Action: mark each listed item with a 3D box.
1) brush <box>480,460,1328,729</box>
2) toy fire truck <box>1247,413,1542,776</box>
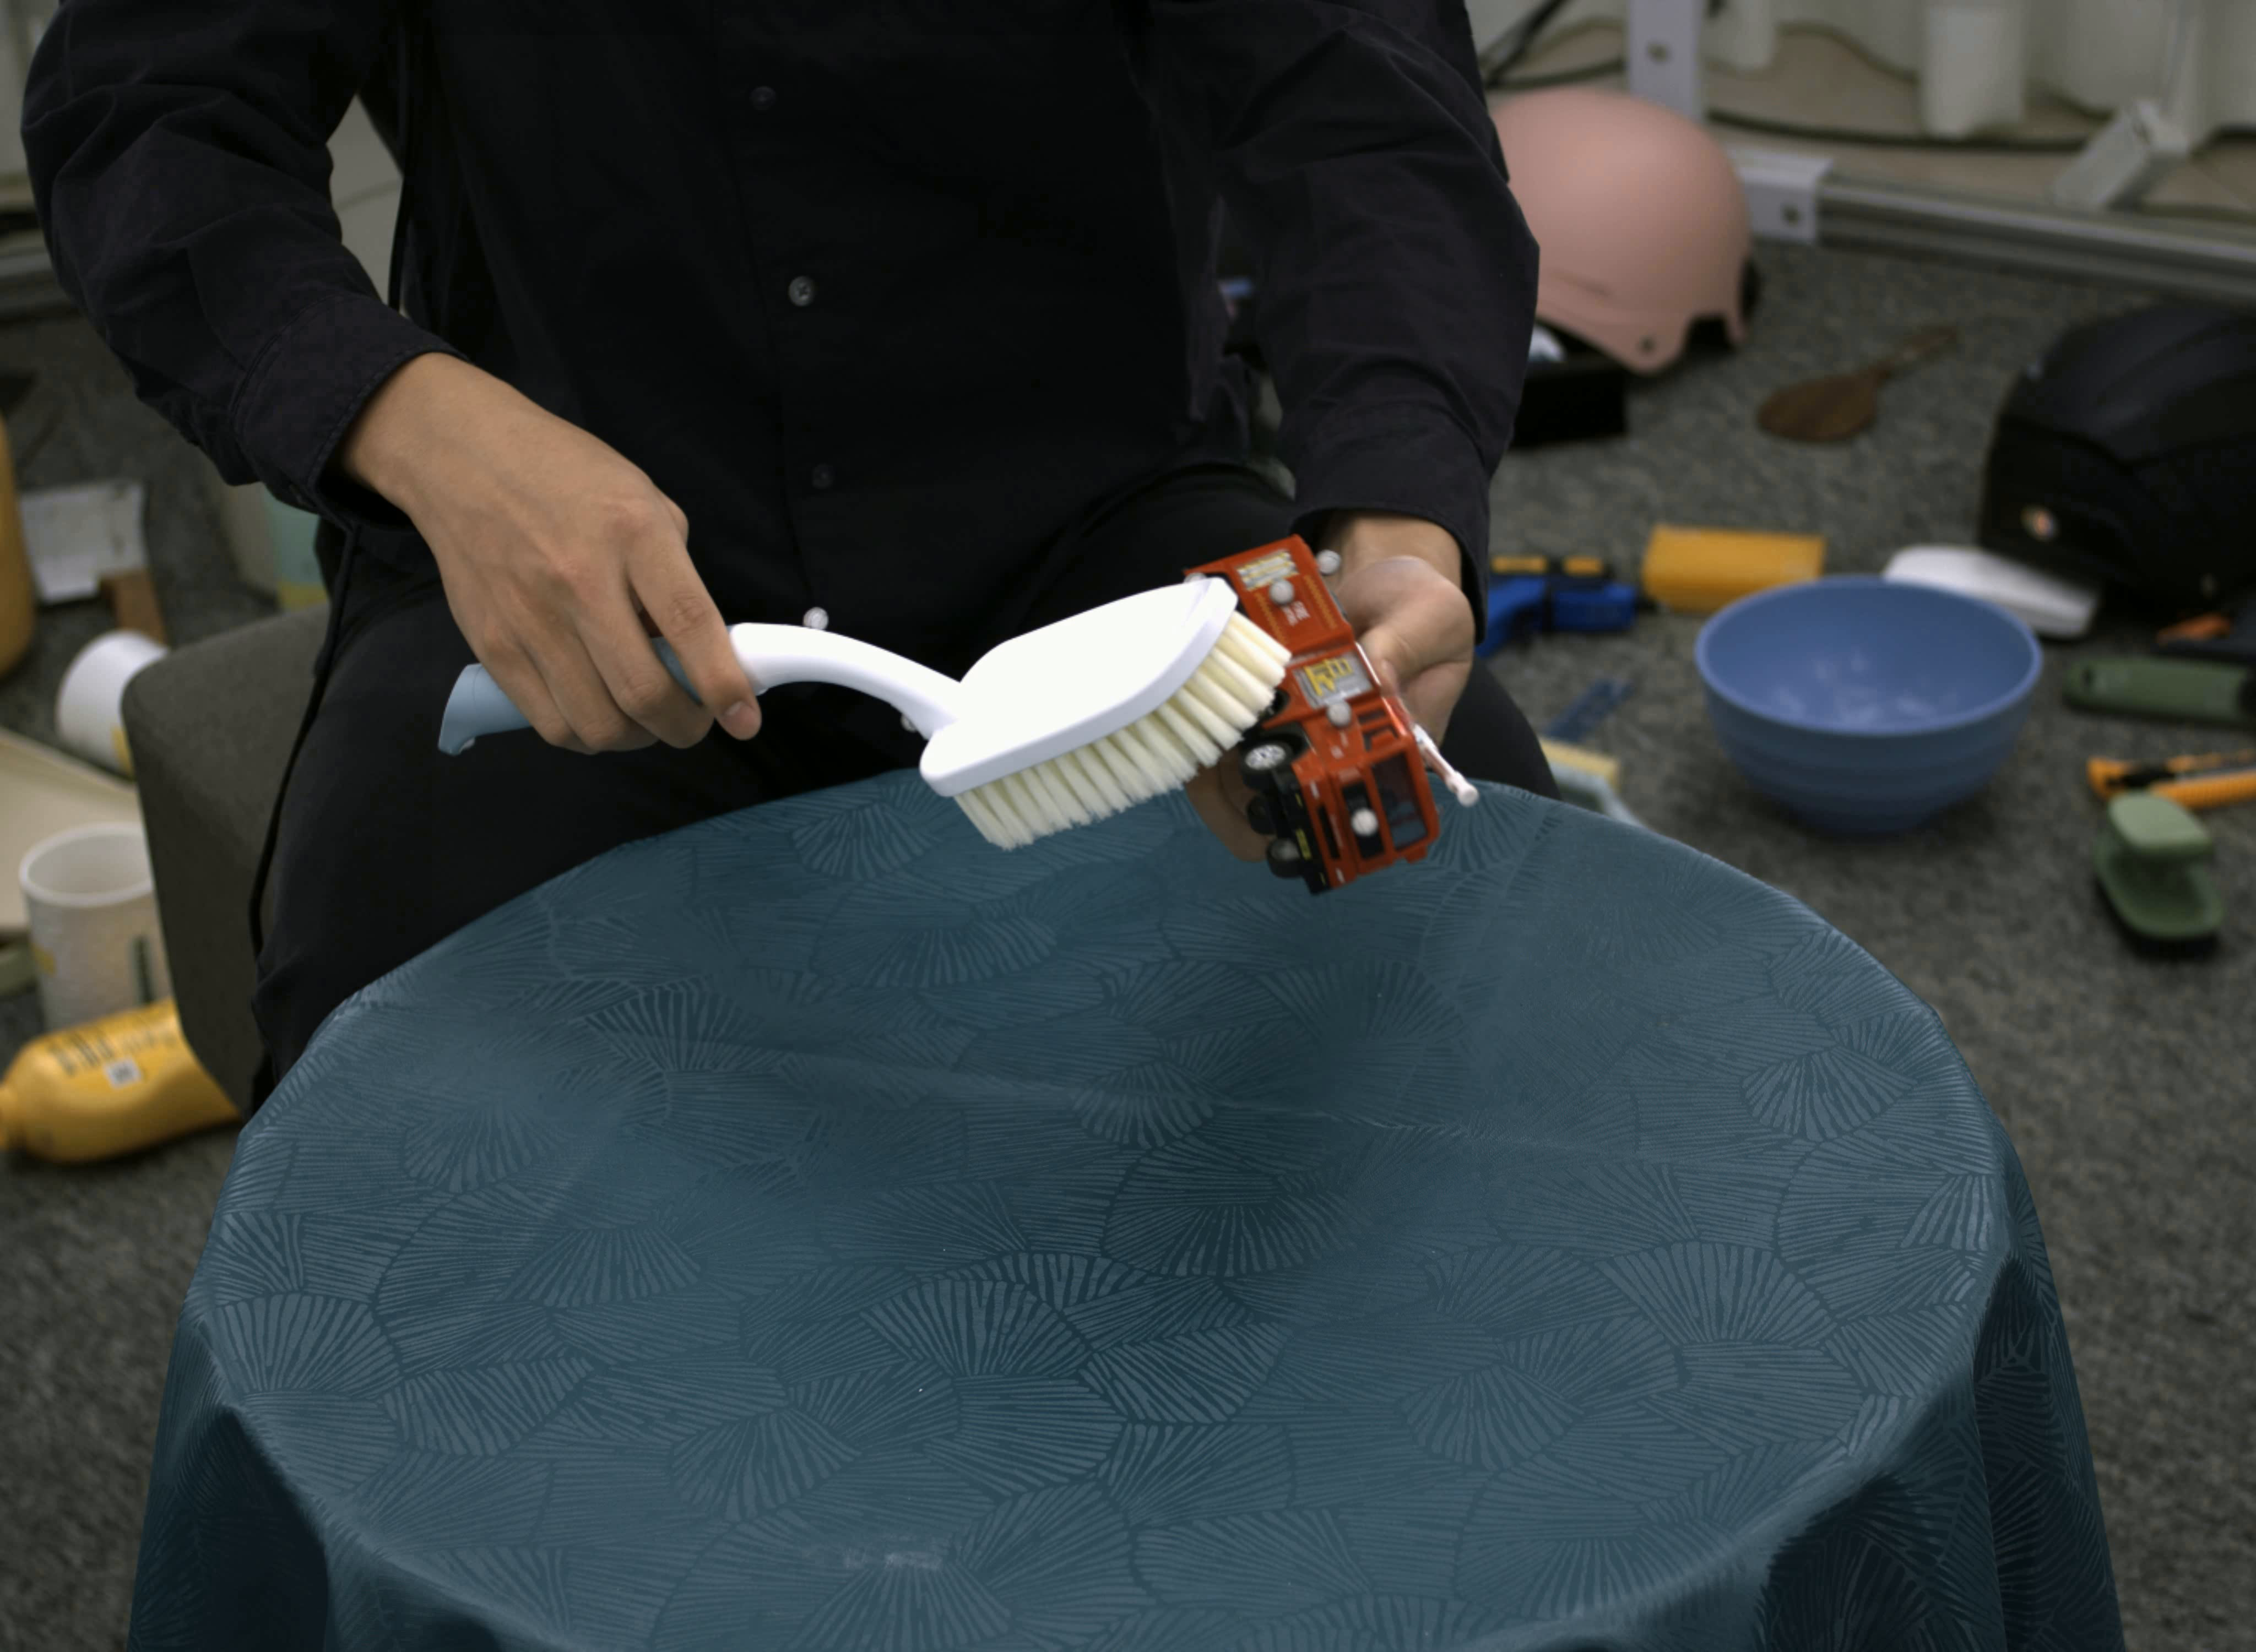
[{"bbox_3d":[-0.072,-0.069,1.880,0.322,0.085,0.084,-7,2,31],"label":"brush"},{"bbox_3d":[0.079,-0.076,1.826,0.070,0.053,0.170,-20,30,-3],"label":"toy fire truck"}]
